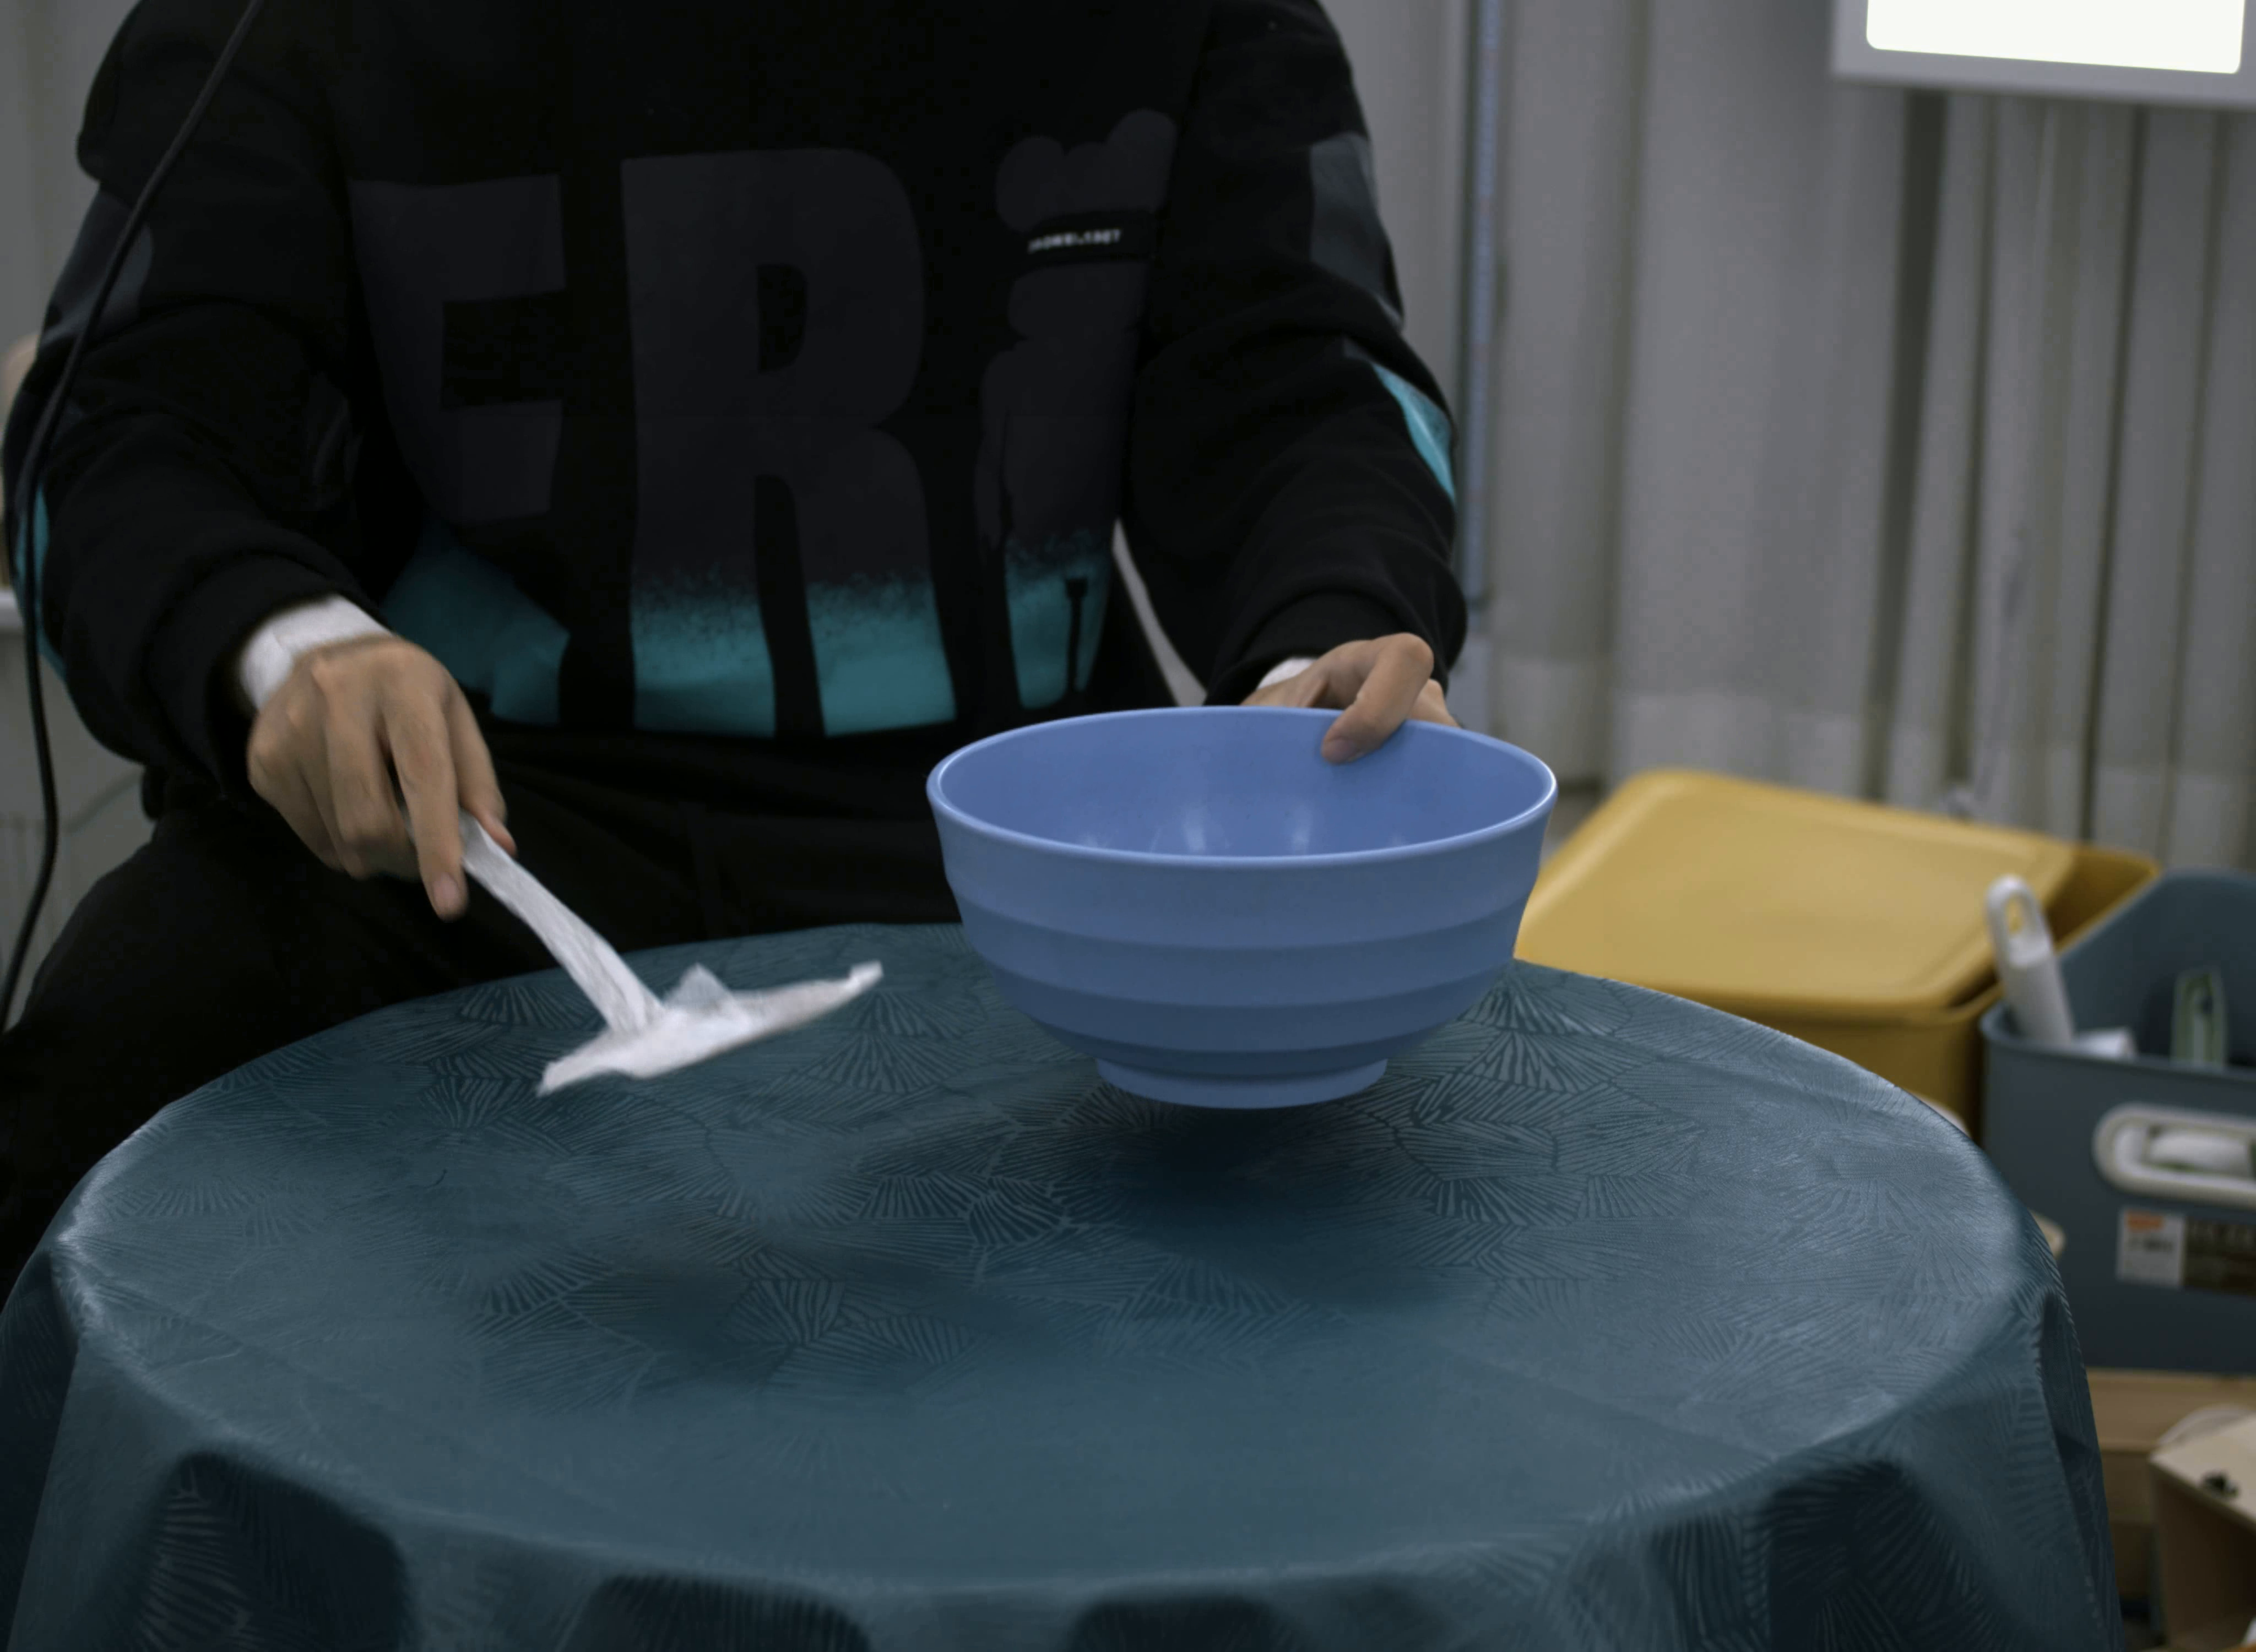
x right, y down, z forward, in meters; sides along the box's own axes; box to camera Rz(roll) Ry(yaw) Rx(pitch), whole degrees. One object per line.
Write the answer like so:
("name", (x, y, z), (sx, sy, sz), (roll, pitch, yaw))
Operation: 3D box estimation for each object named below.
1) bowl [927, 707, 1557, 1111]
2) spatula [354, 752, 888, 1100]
("bowl", (0.036, 0.030, 1.648), (0.196, 0.096, 0.195), (0, 15, 1))
("spatula", (-0.182, 0.021, 1.640), (0.099, 0.045, 0.360), (-21, 28, -21))
